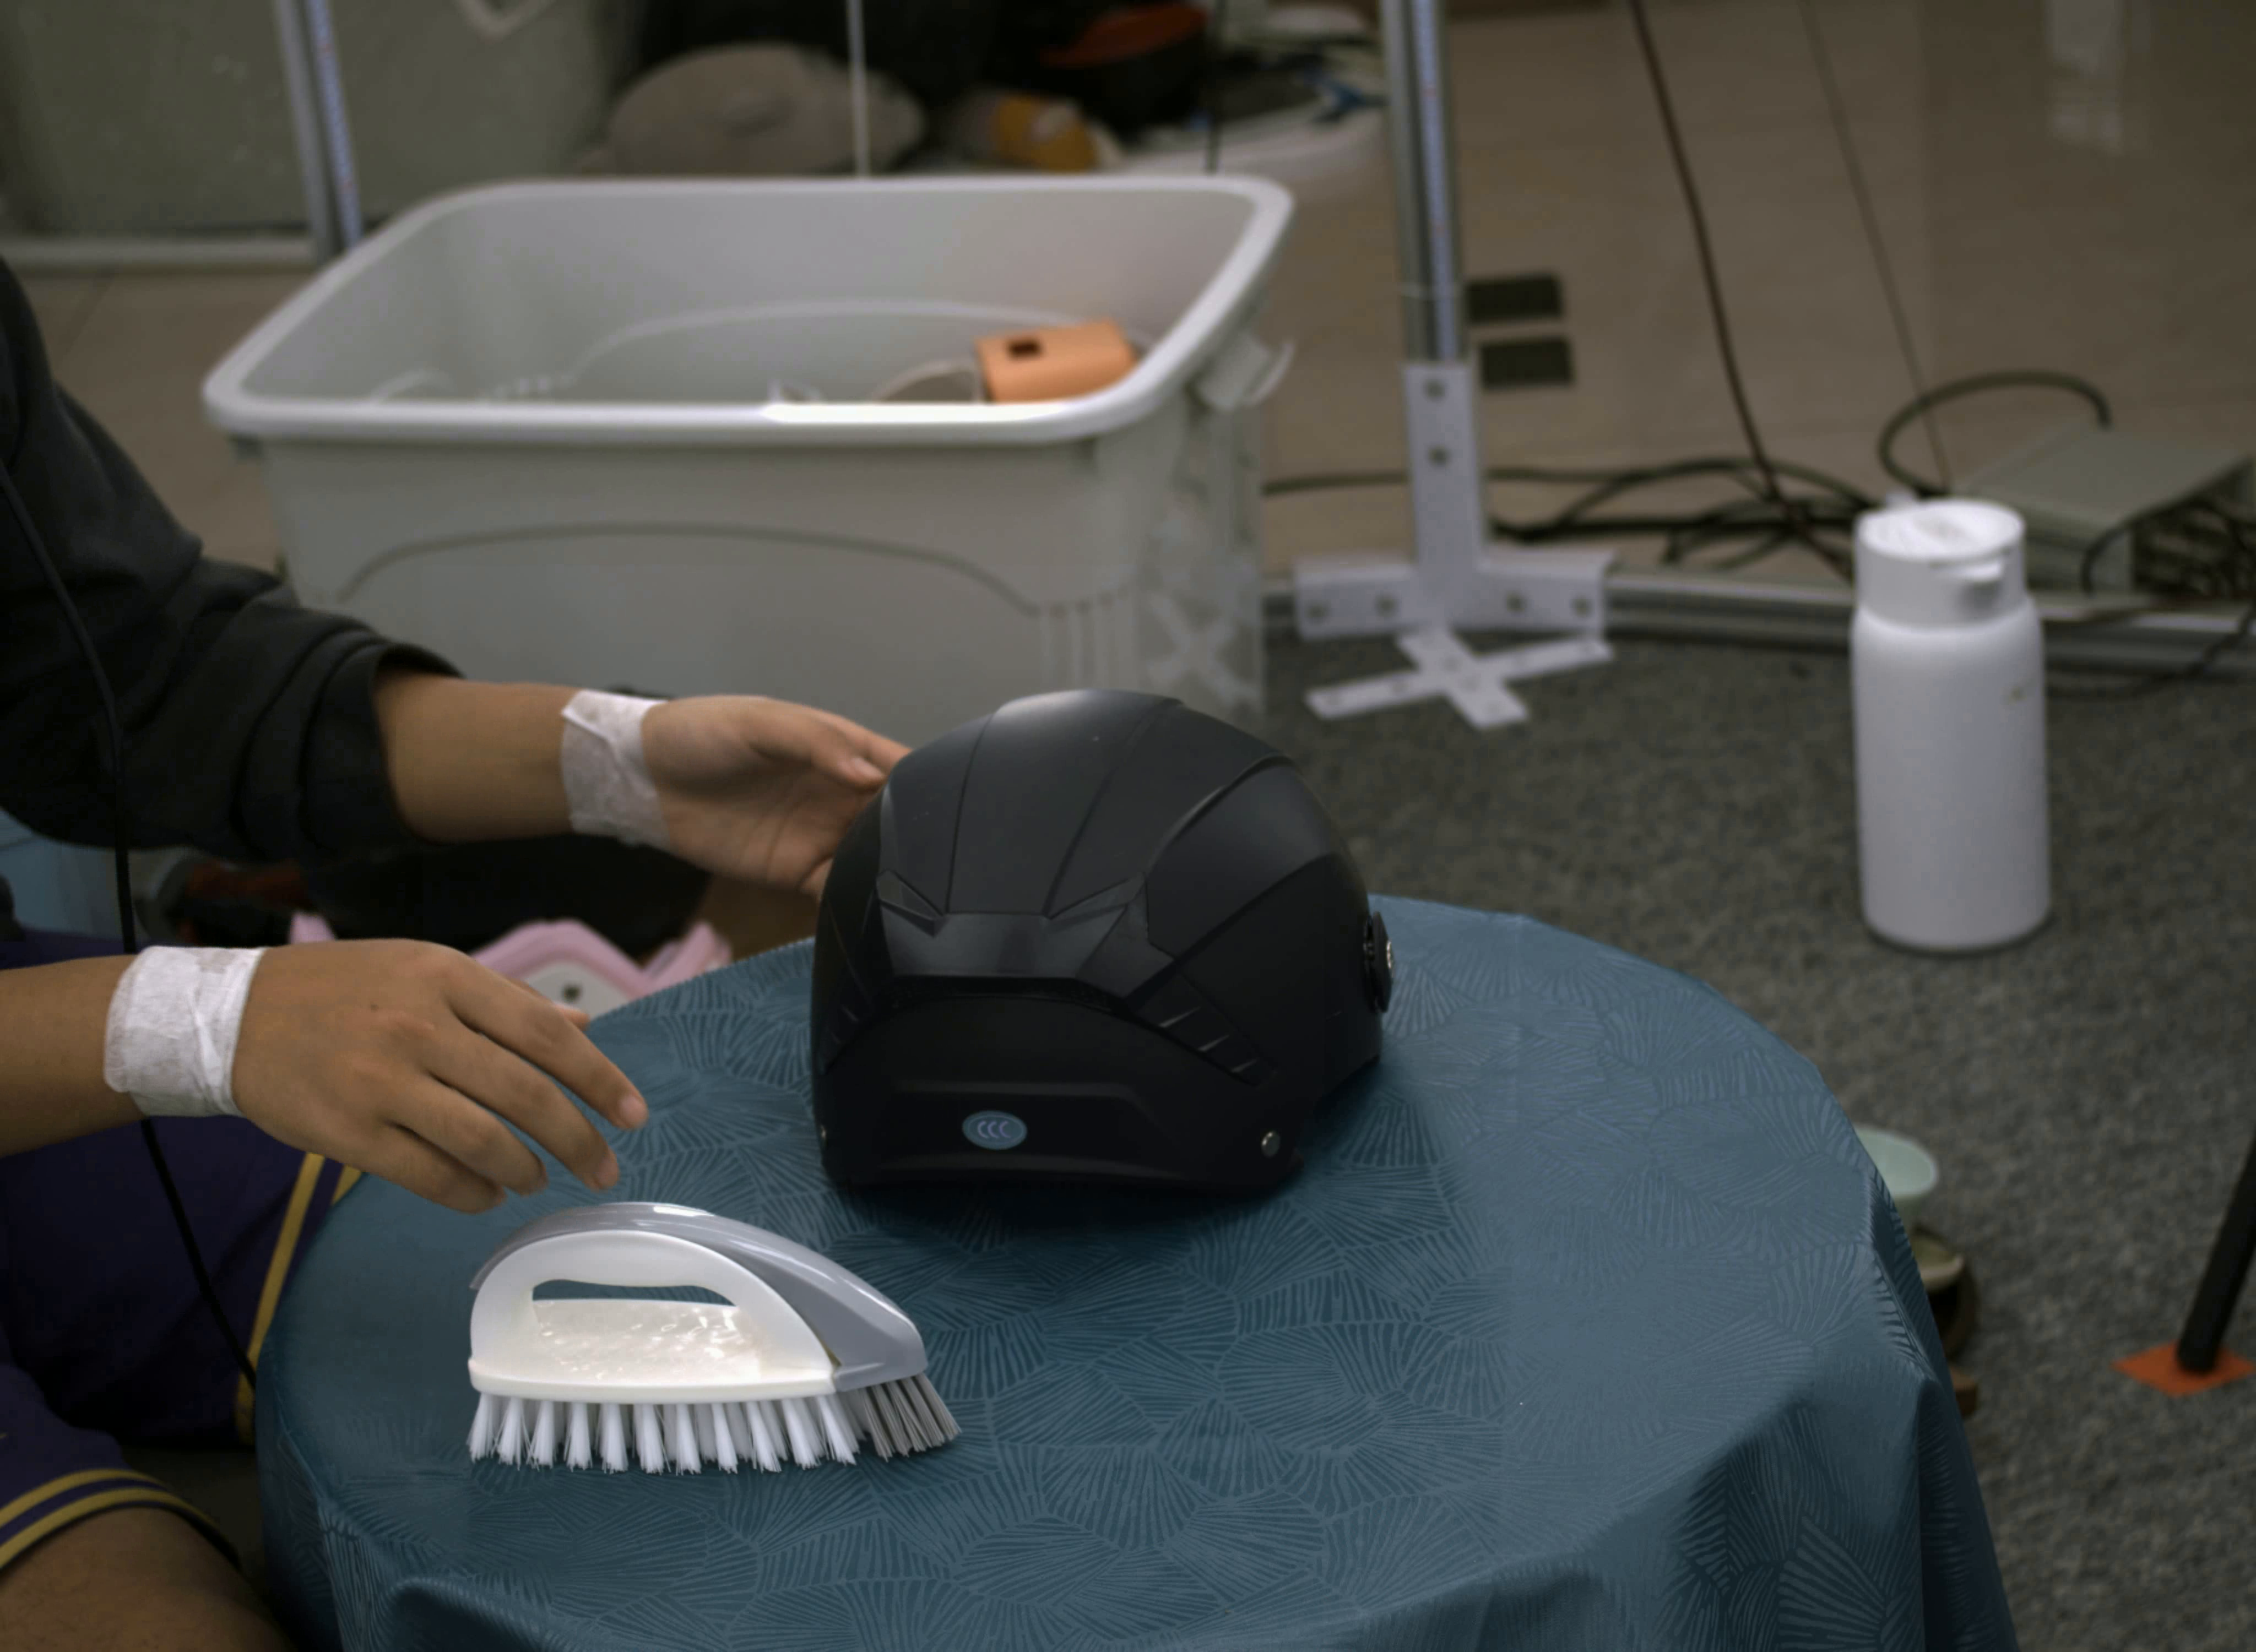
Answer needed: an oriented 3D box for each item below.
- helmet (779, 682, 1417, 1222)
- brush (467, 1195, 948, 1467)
[{"bbox_3d":[-0.015,0.033,2.188,0.246,0.175,0.272,2,31,16],"label":"helmet"},{"bbox_3d":[-0.151,0.174,1.999,0.175,0.096,0.060,4,29,15],"label":"brush"}]
